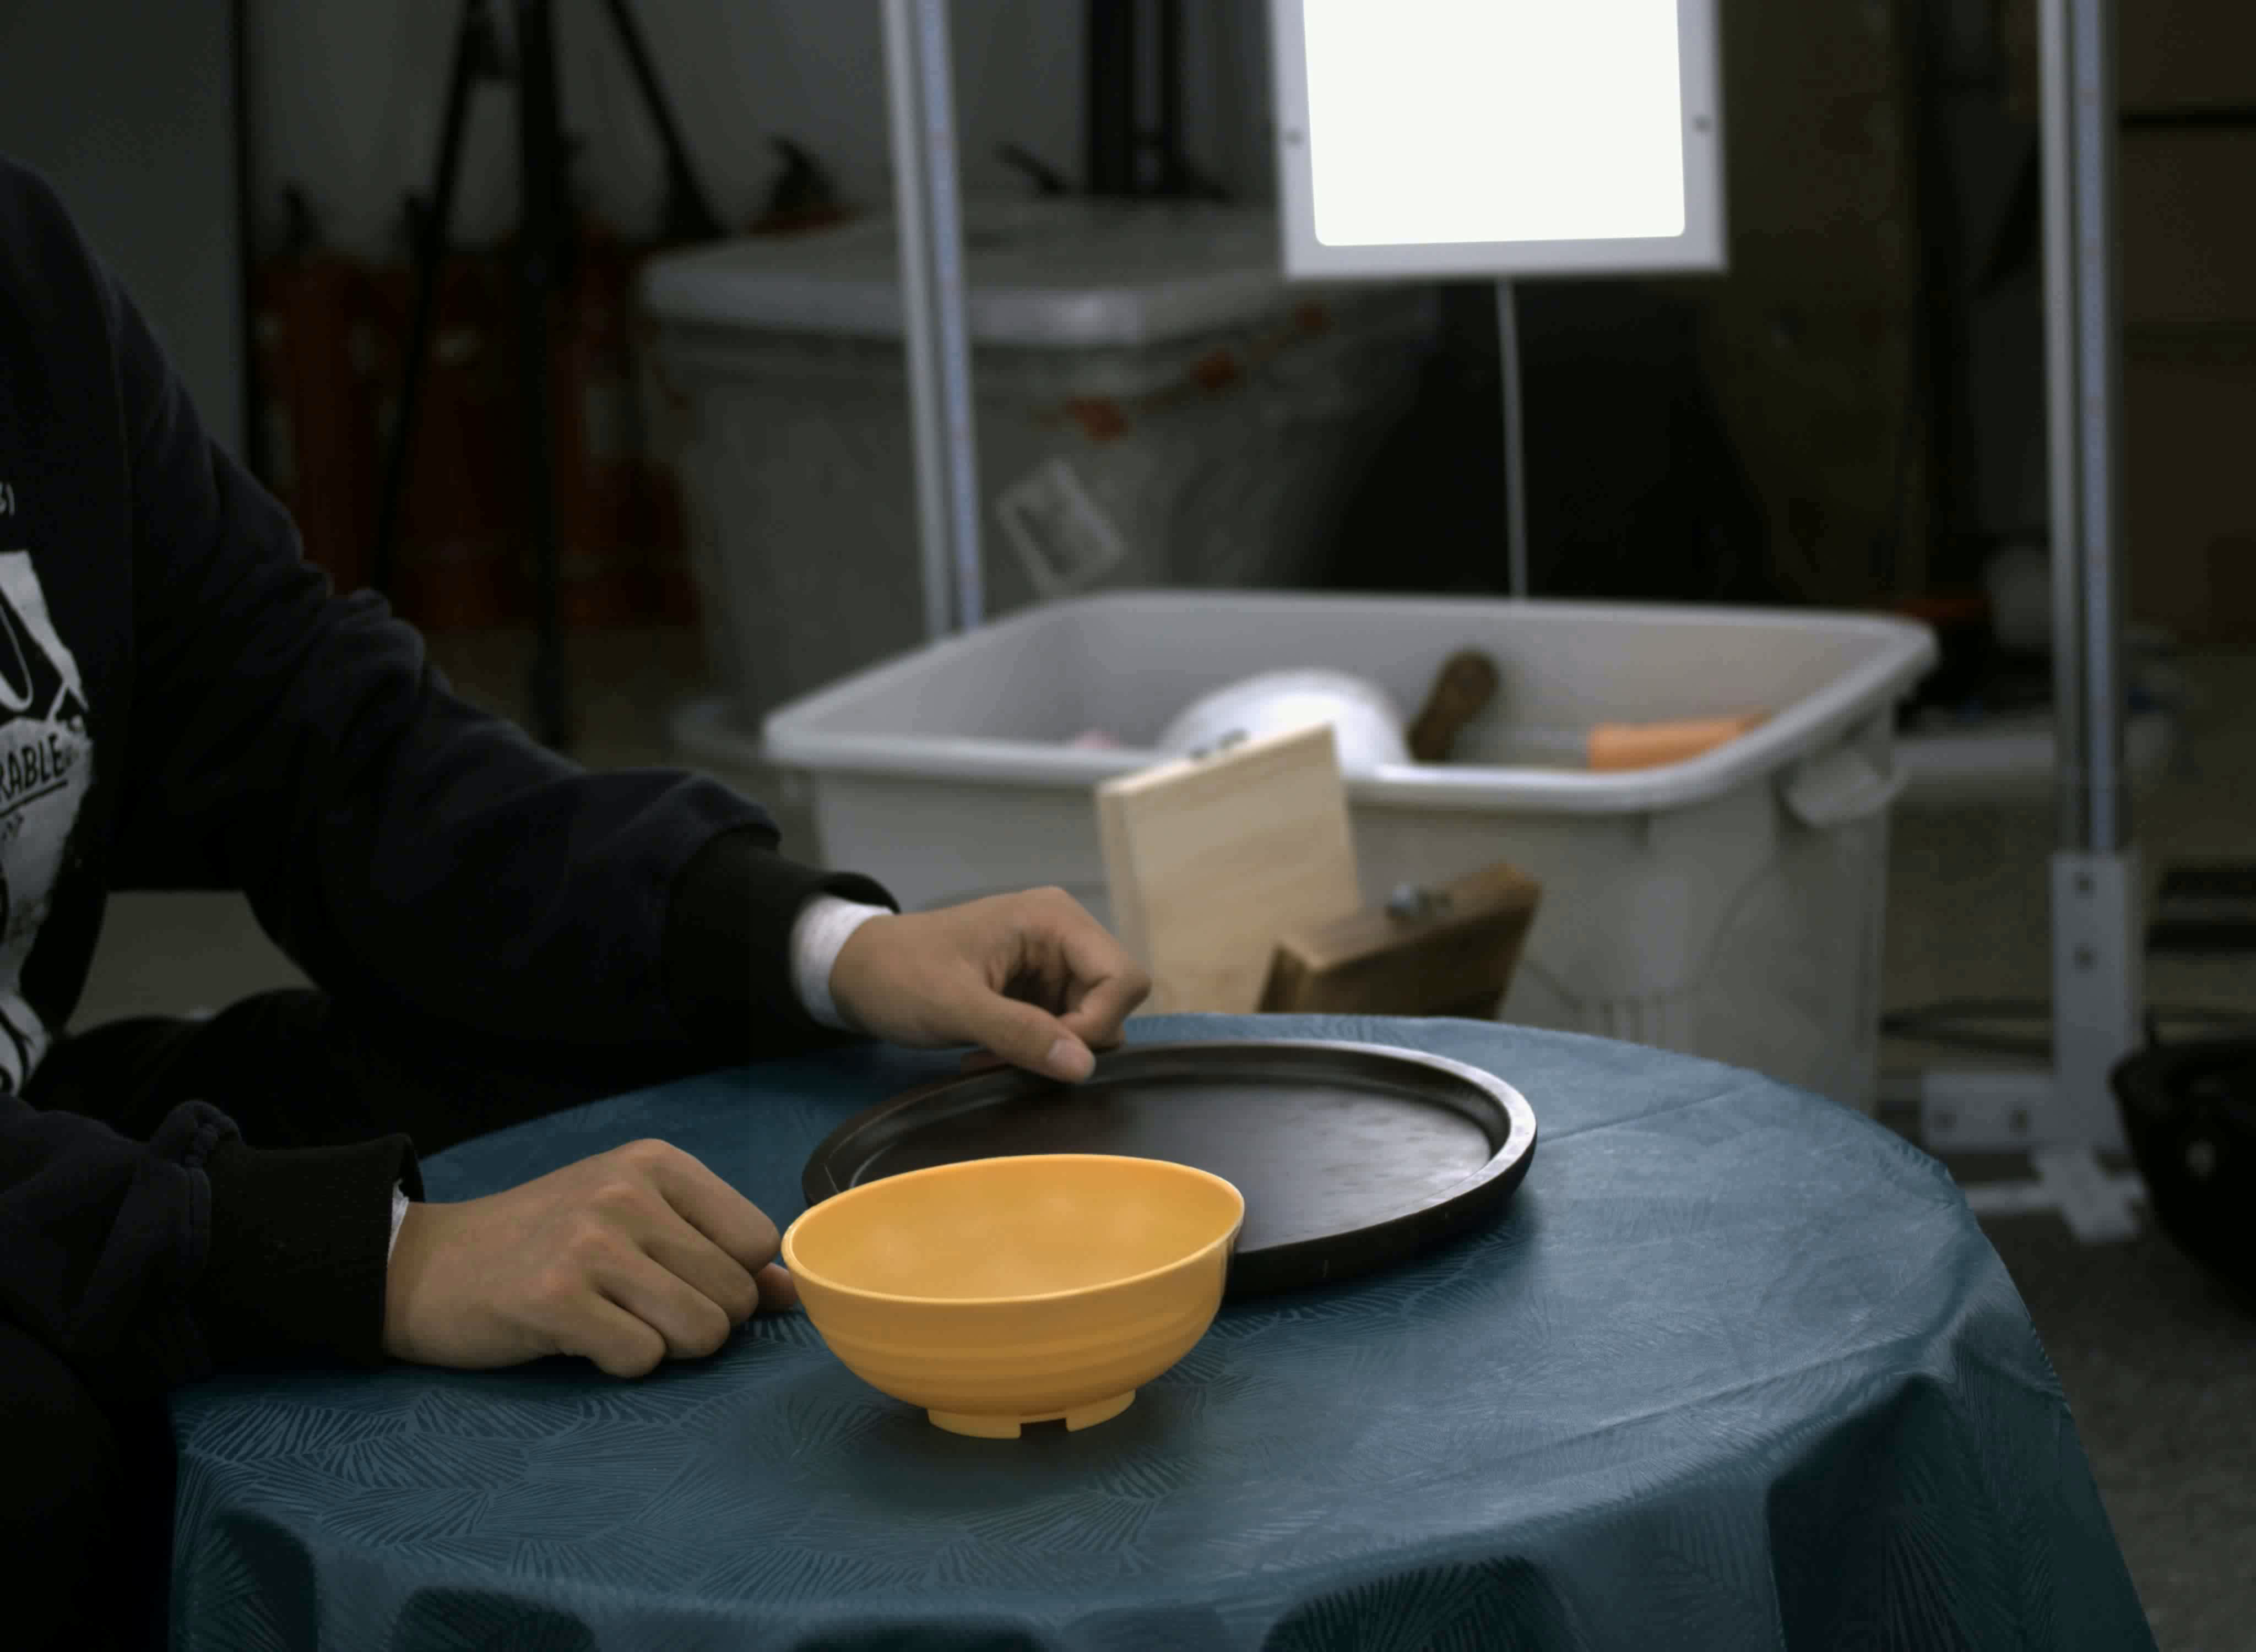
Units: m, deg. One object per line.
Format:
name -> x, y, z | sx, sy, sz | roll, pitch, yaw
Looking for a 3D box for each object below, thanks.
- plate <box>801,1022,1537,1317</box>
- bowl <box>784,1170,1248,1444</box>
plate -> 0.015, 0.118, 1.881 | 0.254, 0.029, 0.254 | -6, 15, 0
bowl -> -0.031, 0.151, 1.691 | 0.145, 0.060, 0.145 | -6, 11, 0
